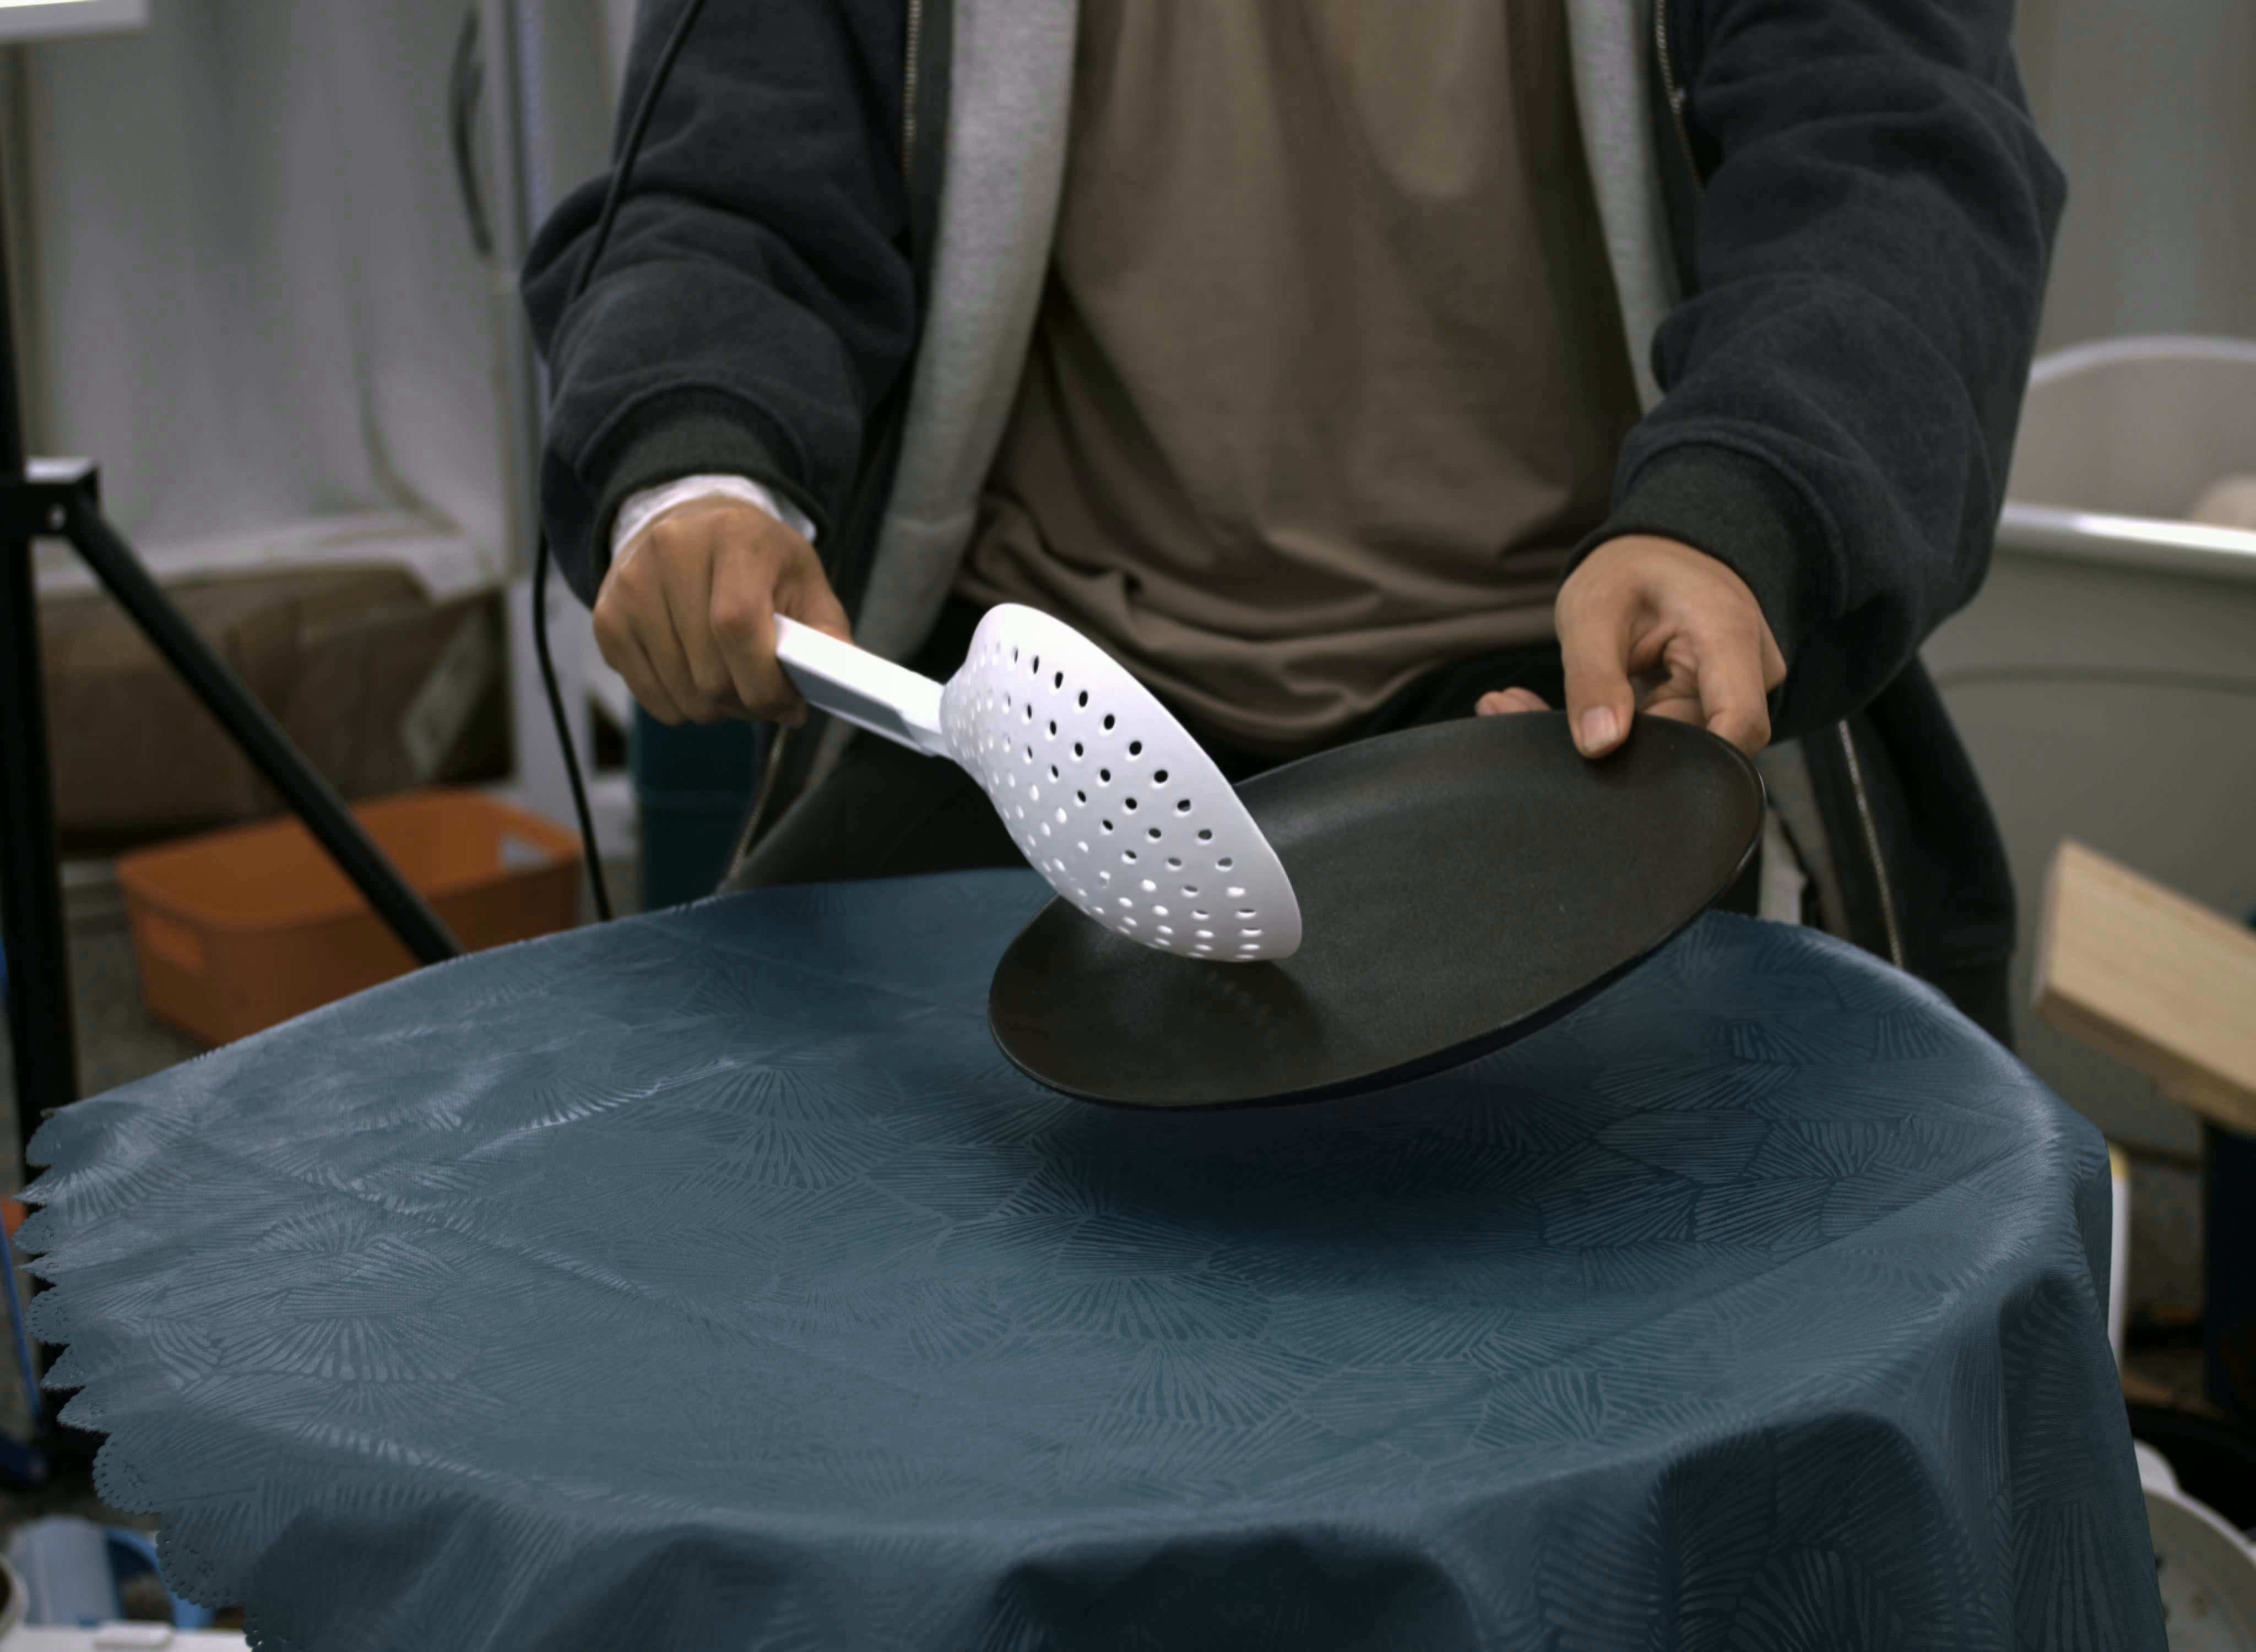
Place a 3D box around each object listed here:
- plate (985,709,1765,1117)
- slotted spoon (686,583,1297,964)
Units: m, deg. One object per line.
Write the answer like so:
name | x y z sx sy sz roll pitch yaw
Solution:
plate | 0.075 0.031 1.597 0.244 0.023 0.246 -17 22 6
slotted spoon | -0.056 -0.033 1.677 0.045 0.134 0.357 -37 28 -12
